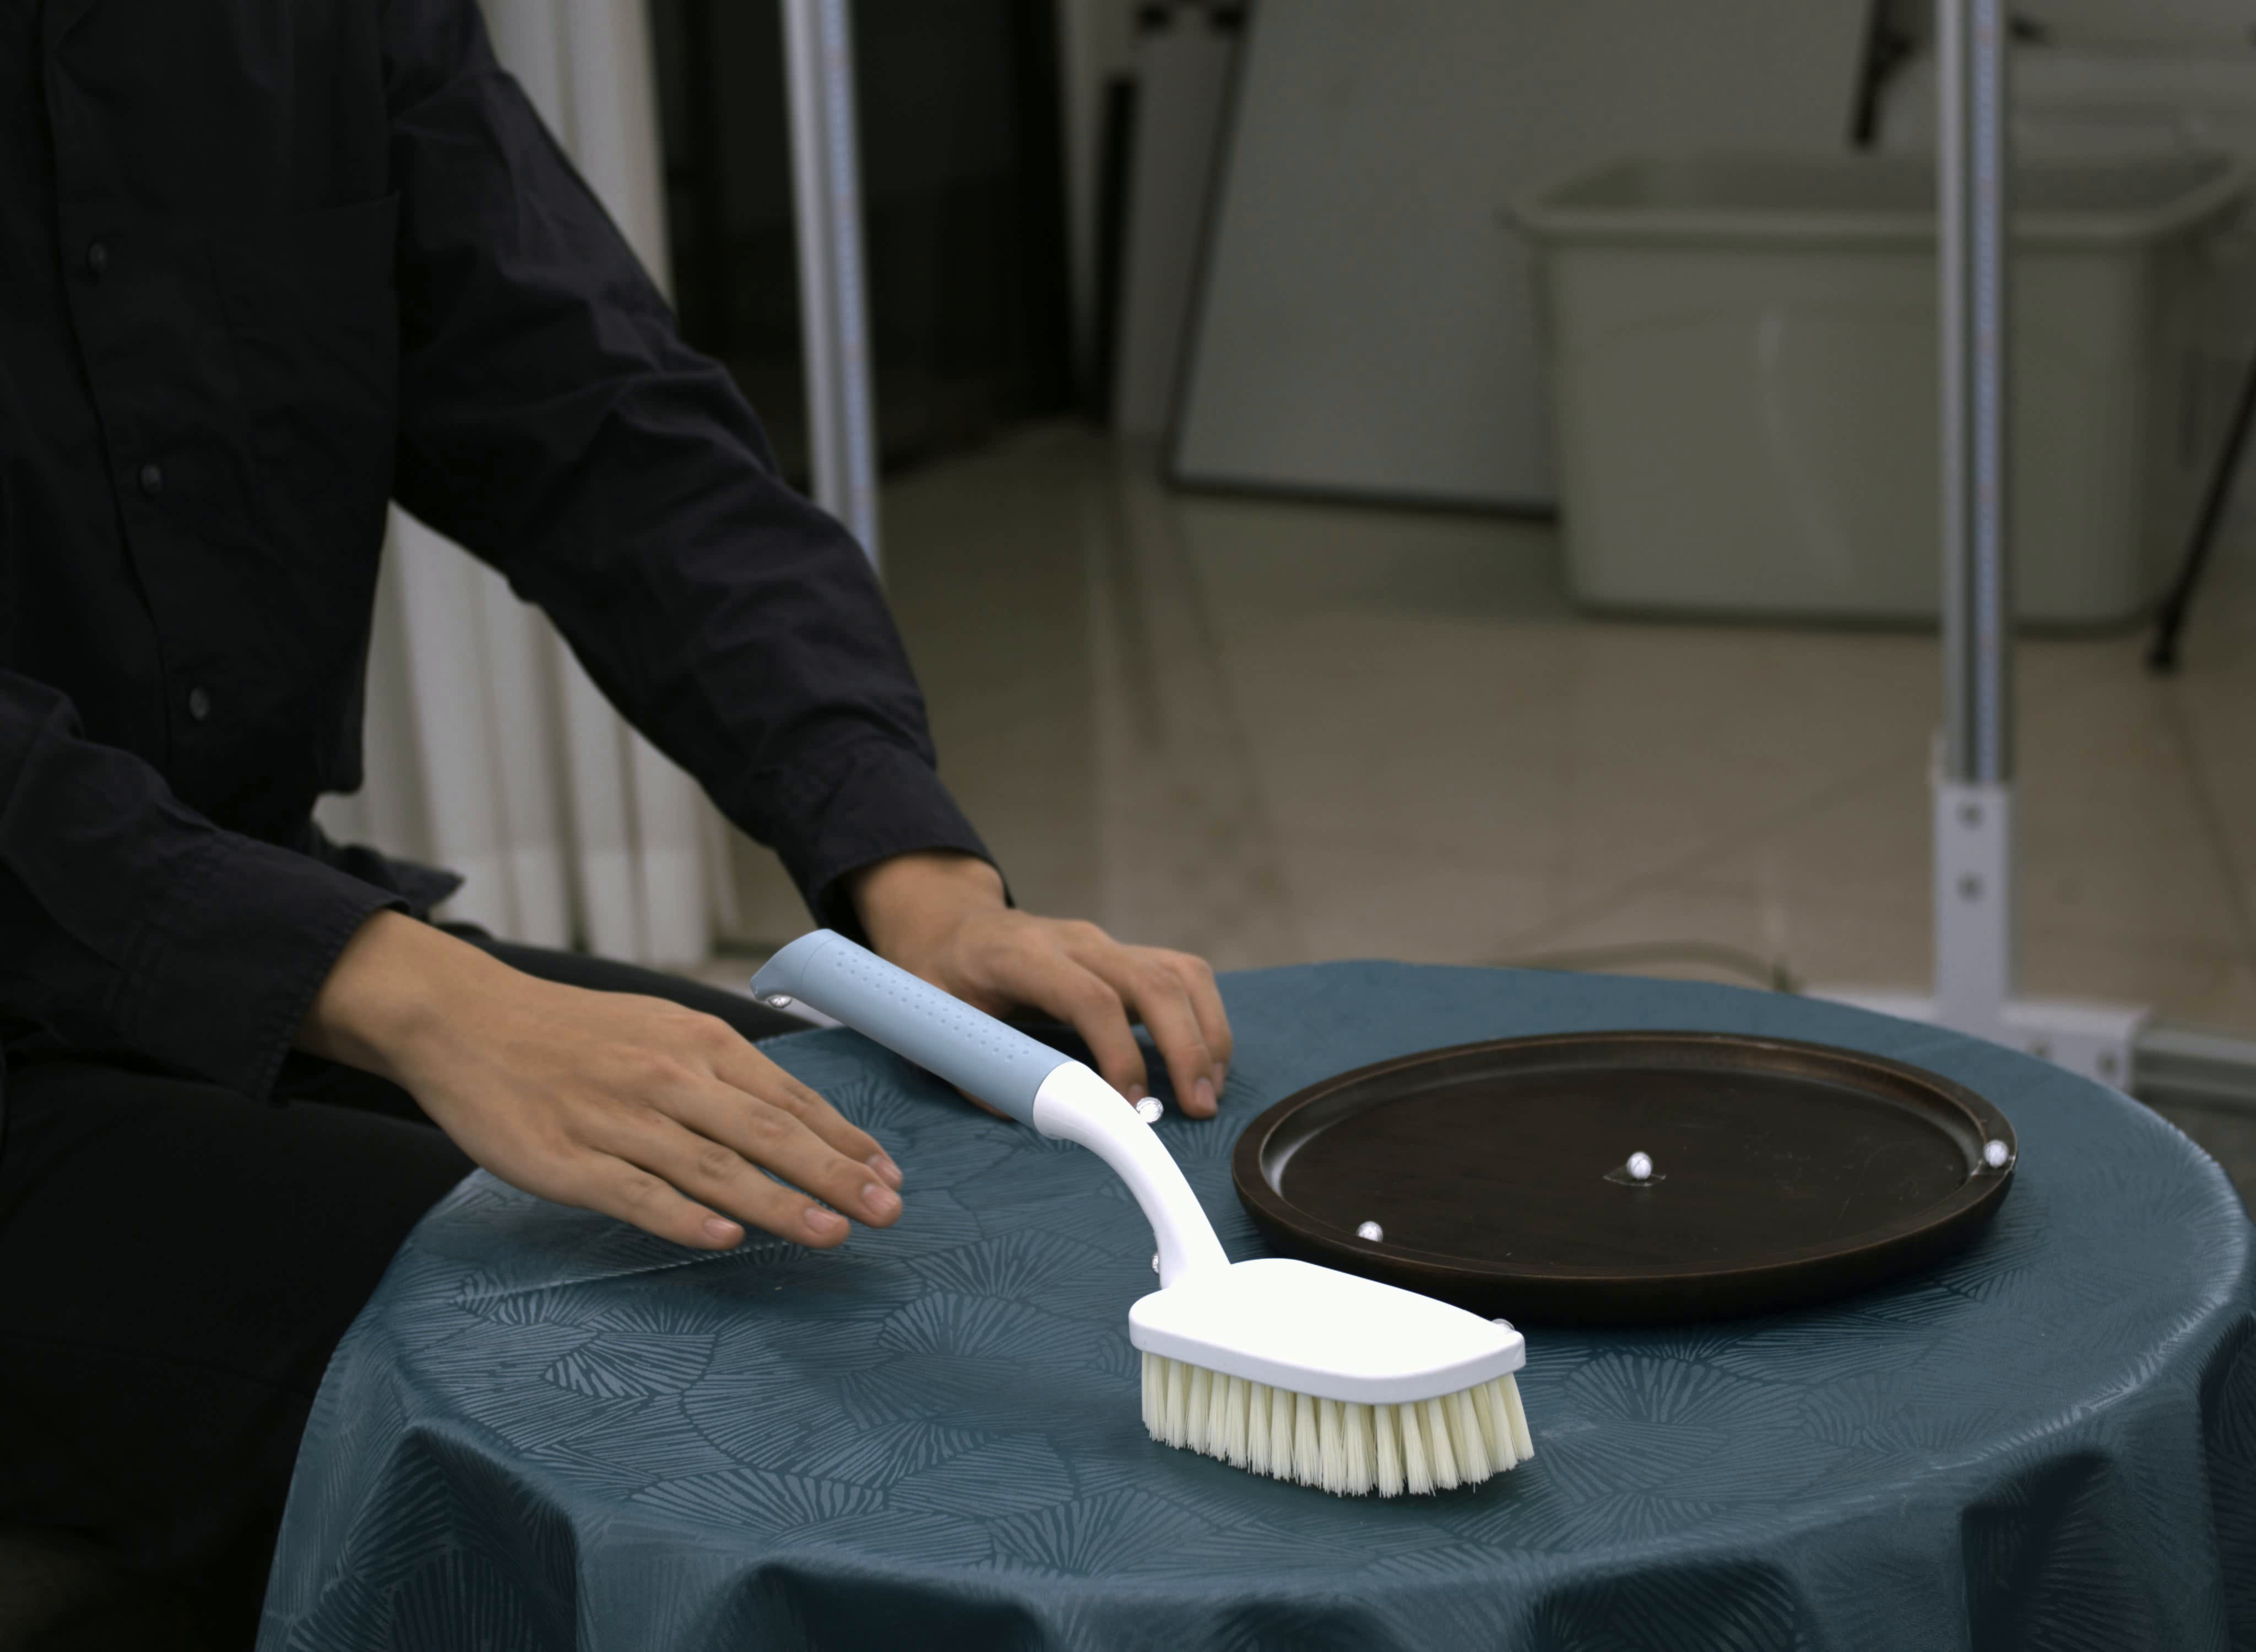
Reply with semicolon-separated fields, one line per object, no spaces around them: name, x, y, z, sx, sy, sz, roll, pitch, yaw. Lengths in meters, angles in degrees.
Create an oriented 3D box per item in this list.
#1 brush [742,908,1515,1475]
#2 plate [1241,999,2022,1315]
brush;-0.006;0.121;1.599;0.329;0.085;0.082;26;-7;42
plate;0.161;0.106;1.733;0.251;0.029;0.255;-4;16;0
